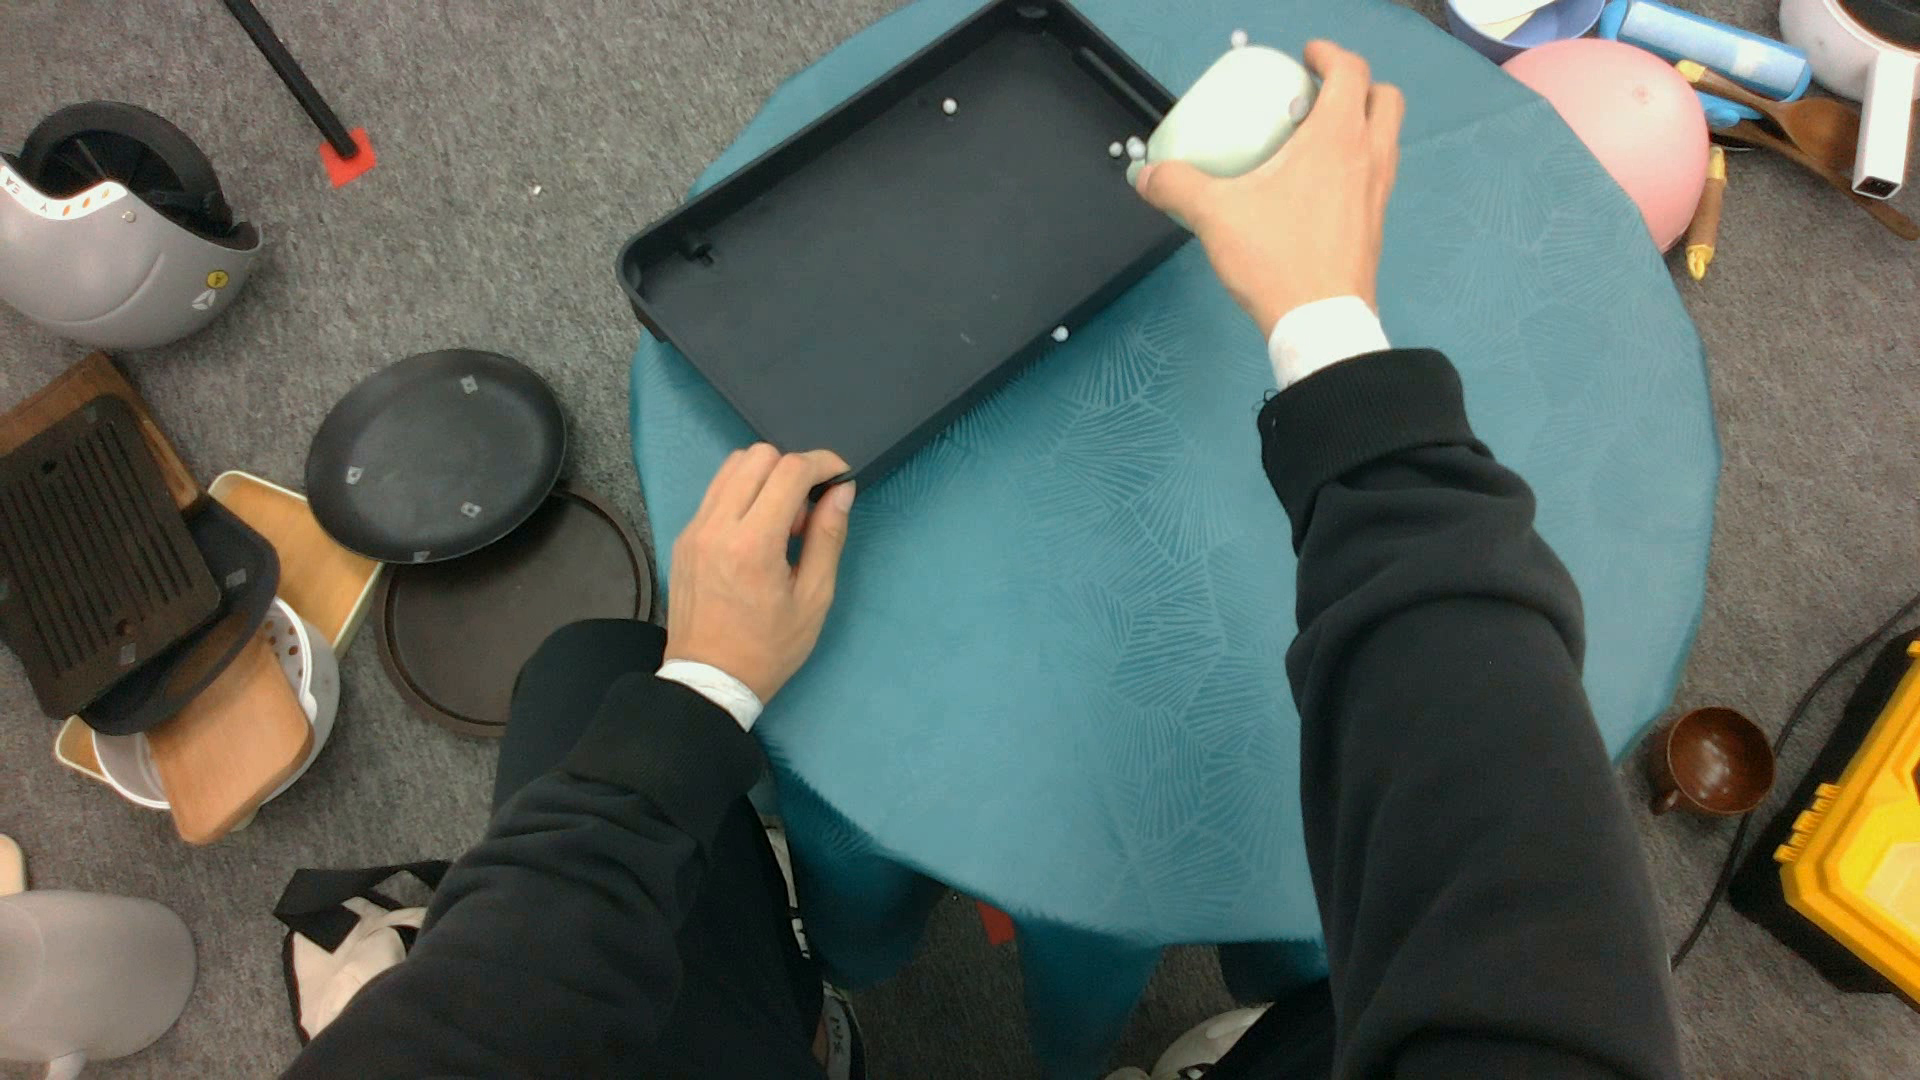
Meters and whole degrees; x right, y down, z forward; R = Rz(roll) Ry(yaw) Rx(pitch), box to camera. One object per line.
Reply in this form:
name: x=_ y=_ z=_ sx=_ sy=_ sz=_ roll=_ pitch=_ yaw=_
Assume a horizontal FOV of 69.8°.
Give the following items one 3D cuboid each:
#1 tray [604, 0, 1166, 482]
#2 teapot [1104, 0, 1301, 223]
tray: x=-0.021 y=-0.184 z=0.764 sx=0.319 sy=0.037 sz=0.184 roll=-41 pitch=75 yaw=-20
teapot: x=0.119 y=-0.196 z=0.660 sx=0.075 sy=0.143 sz=0.088 roll=43 pitch=68 yaw=2
